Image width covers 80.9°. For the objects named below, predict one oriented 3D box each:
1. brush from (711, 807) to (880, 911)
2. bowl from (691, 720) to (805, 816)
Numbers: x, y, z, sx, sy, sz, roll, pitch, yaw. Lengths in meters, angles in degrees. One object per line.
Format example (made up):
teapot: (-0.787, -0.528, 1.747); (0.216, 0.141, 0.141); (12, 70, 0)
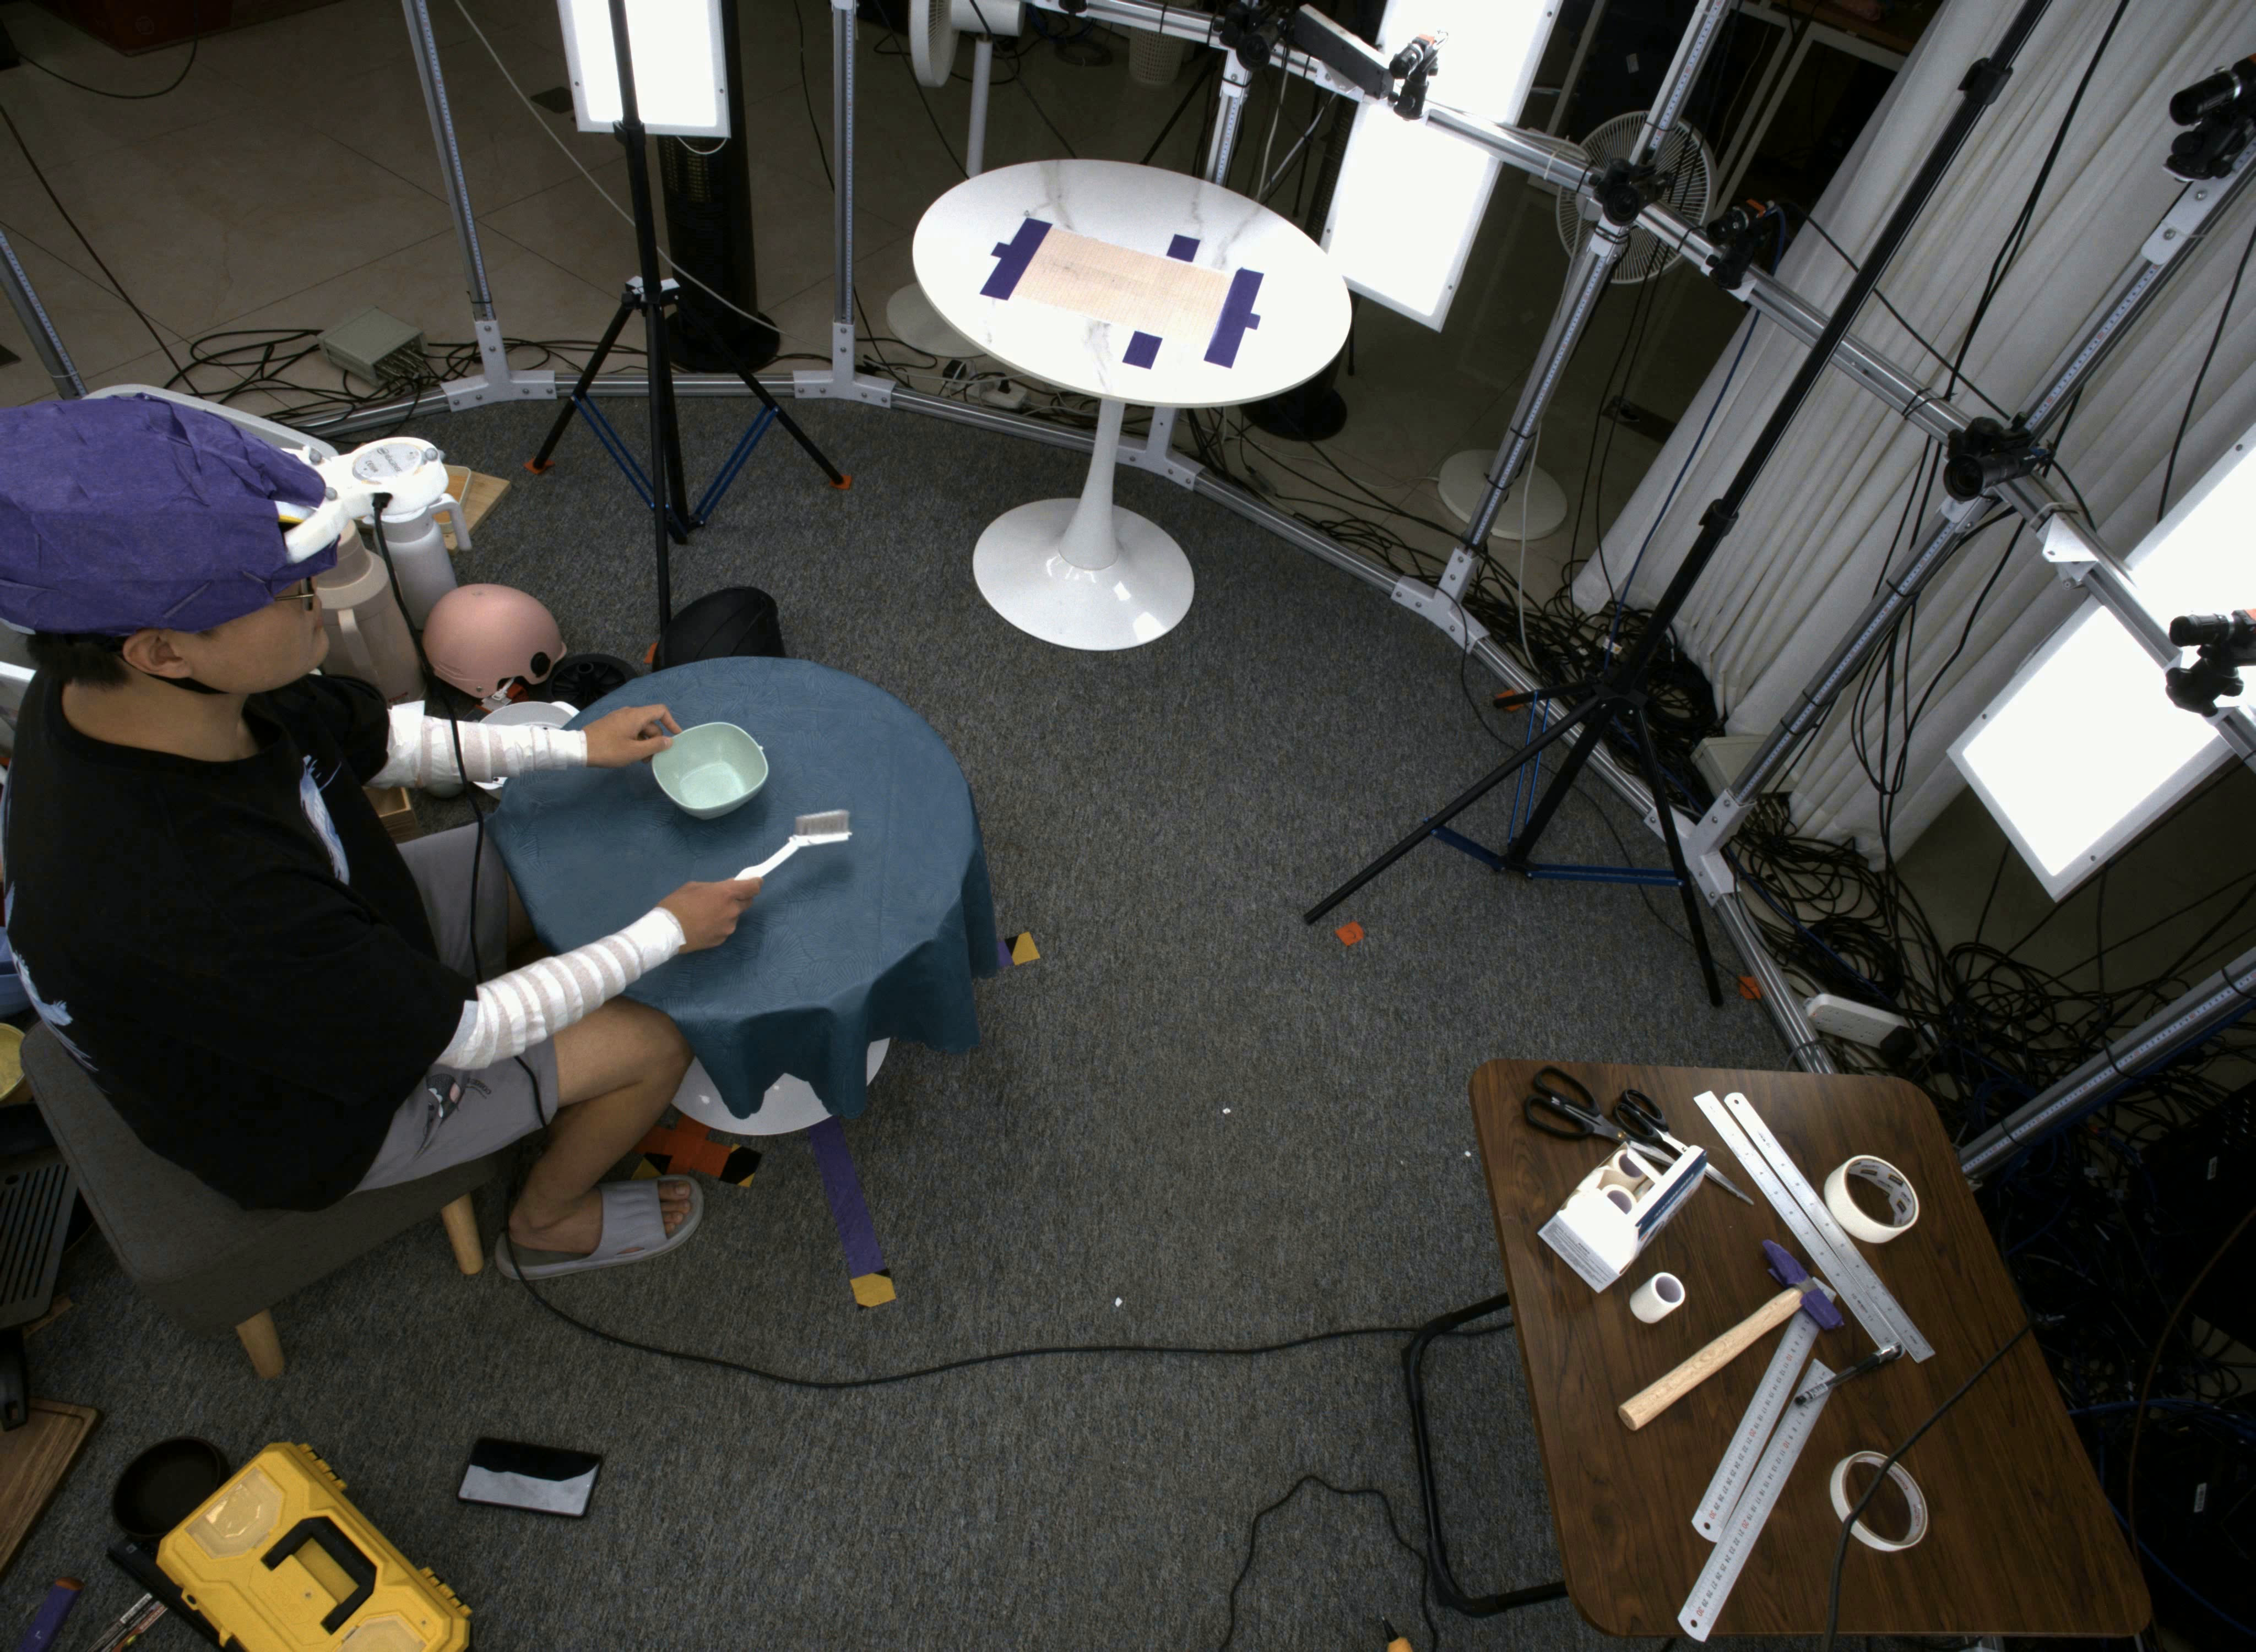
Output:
brush: (-0.421, 0.033, 1.635); (0.244, 0.052, 0.033); (-27, 22, -24)
bowl: (-0.506, -0.069, 1.728); (0.151, 0.060, 0.148); (7, 51, -7)
